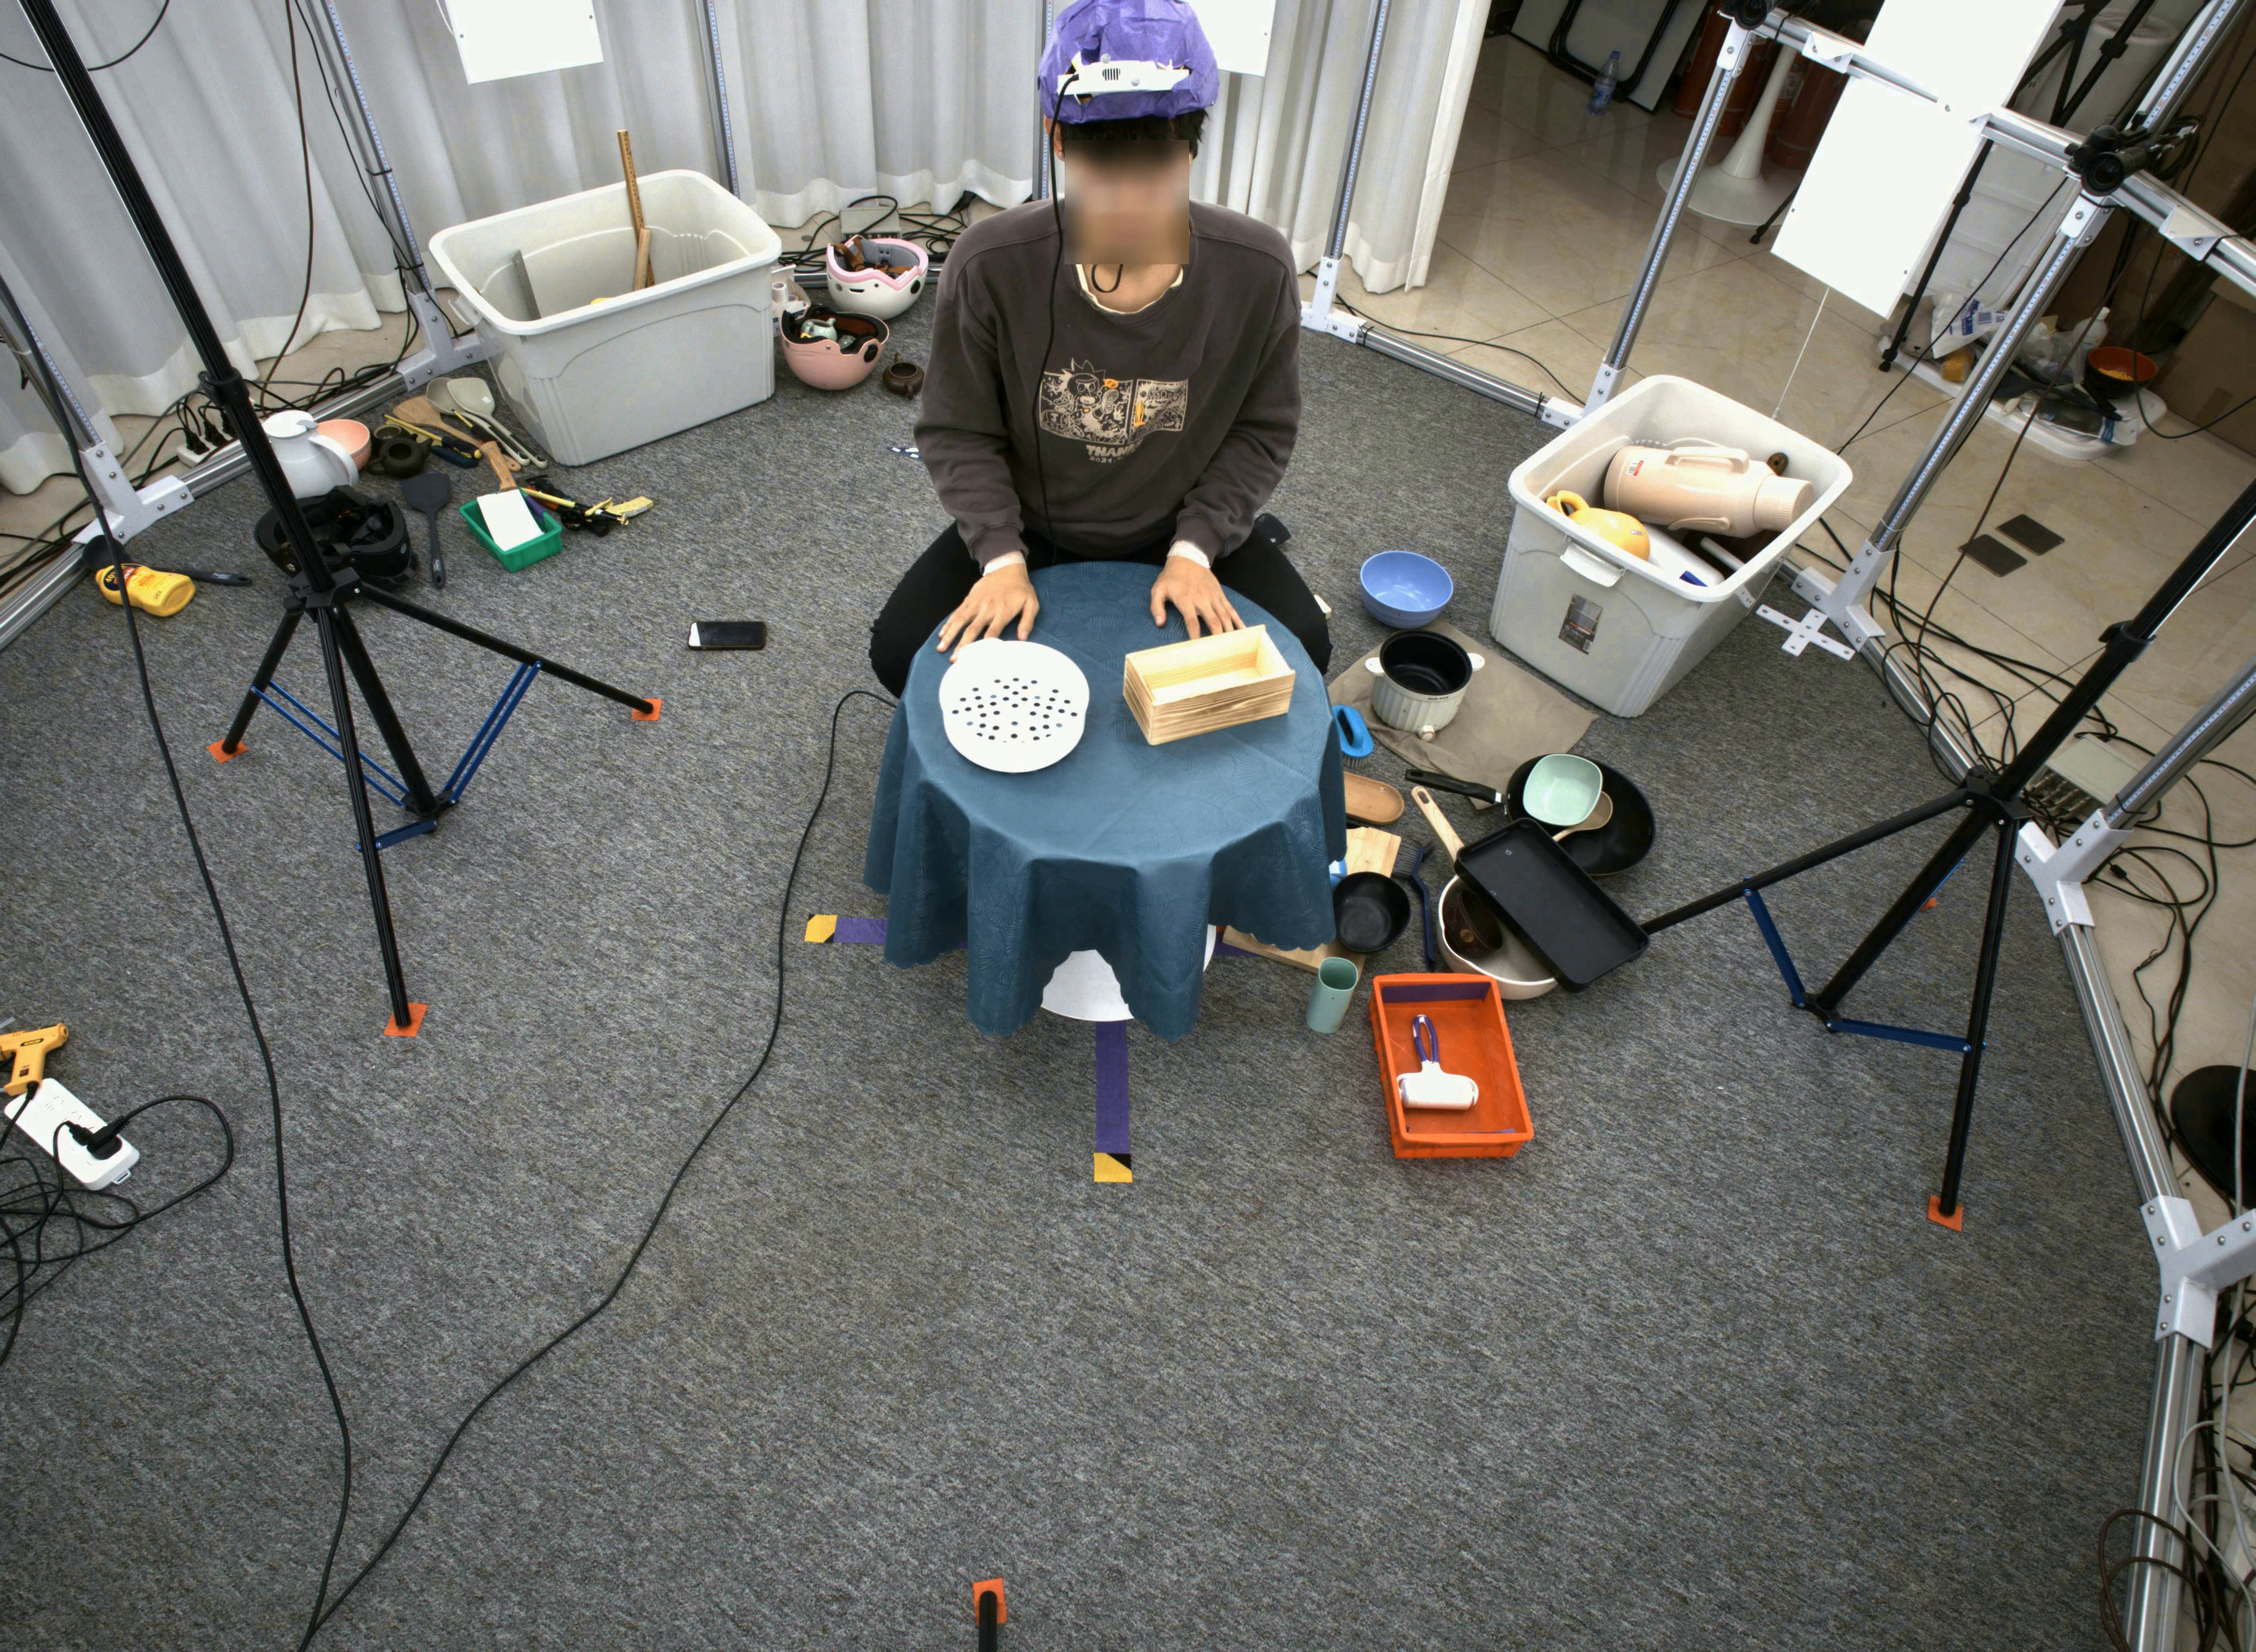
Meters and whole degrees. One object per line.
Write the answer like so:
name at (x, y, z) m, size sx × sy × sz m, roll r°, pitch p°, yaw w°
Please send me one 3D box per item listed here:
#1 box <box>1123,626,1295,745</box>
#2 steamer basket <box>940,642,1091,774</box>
box at (0.111, -0.198, 1.793) m, size 0.211 × 0.078 × 0.110 m, roll -14°, pitch 51°, yaw -16°
steamer basket at (-0.152, -0.158, 1.750) m, size 0.202 × 0.067 × 0.235 m, roll -22°, pitch 53°, yaw -22°
